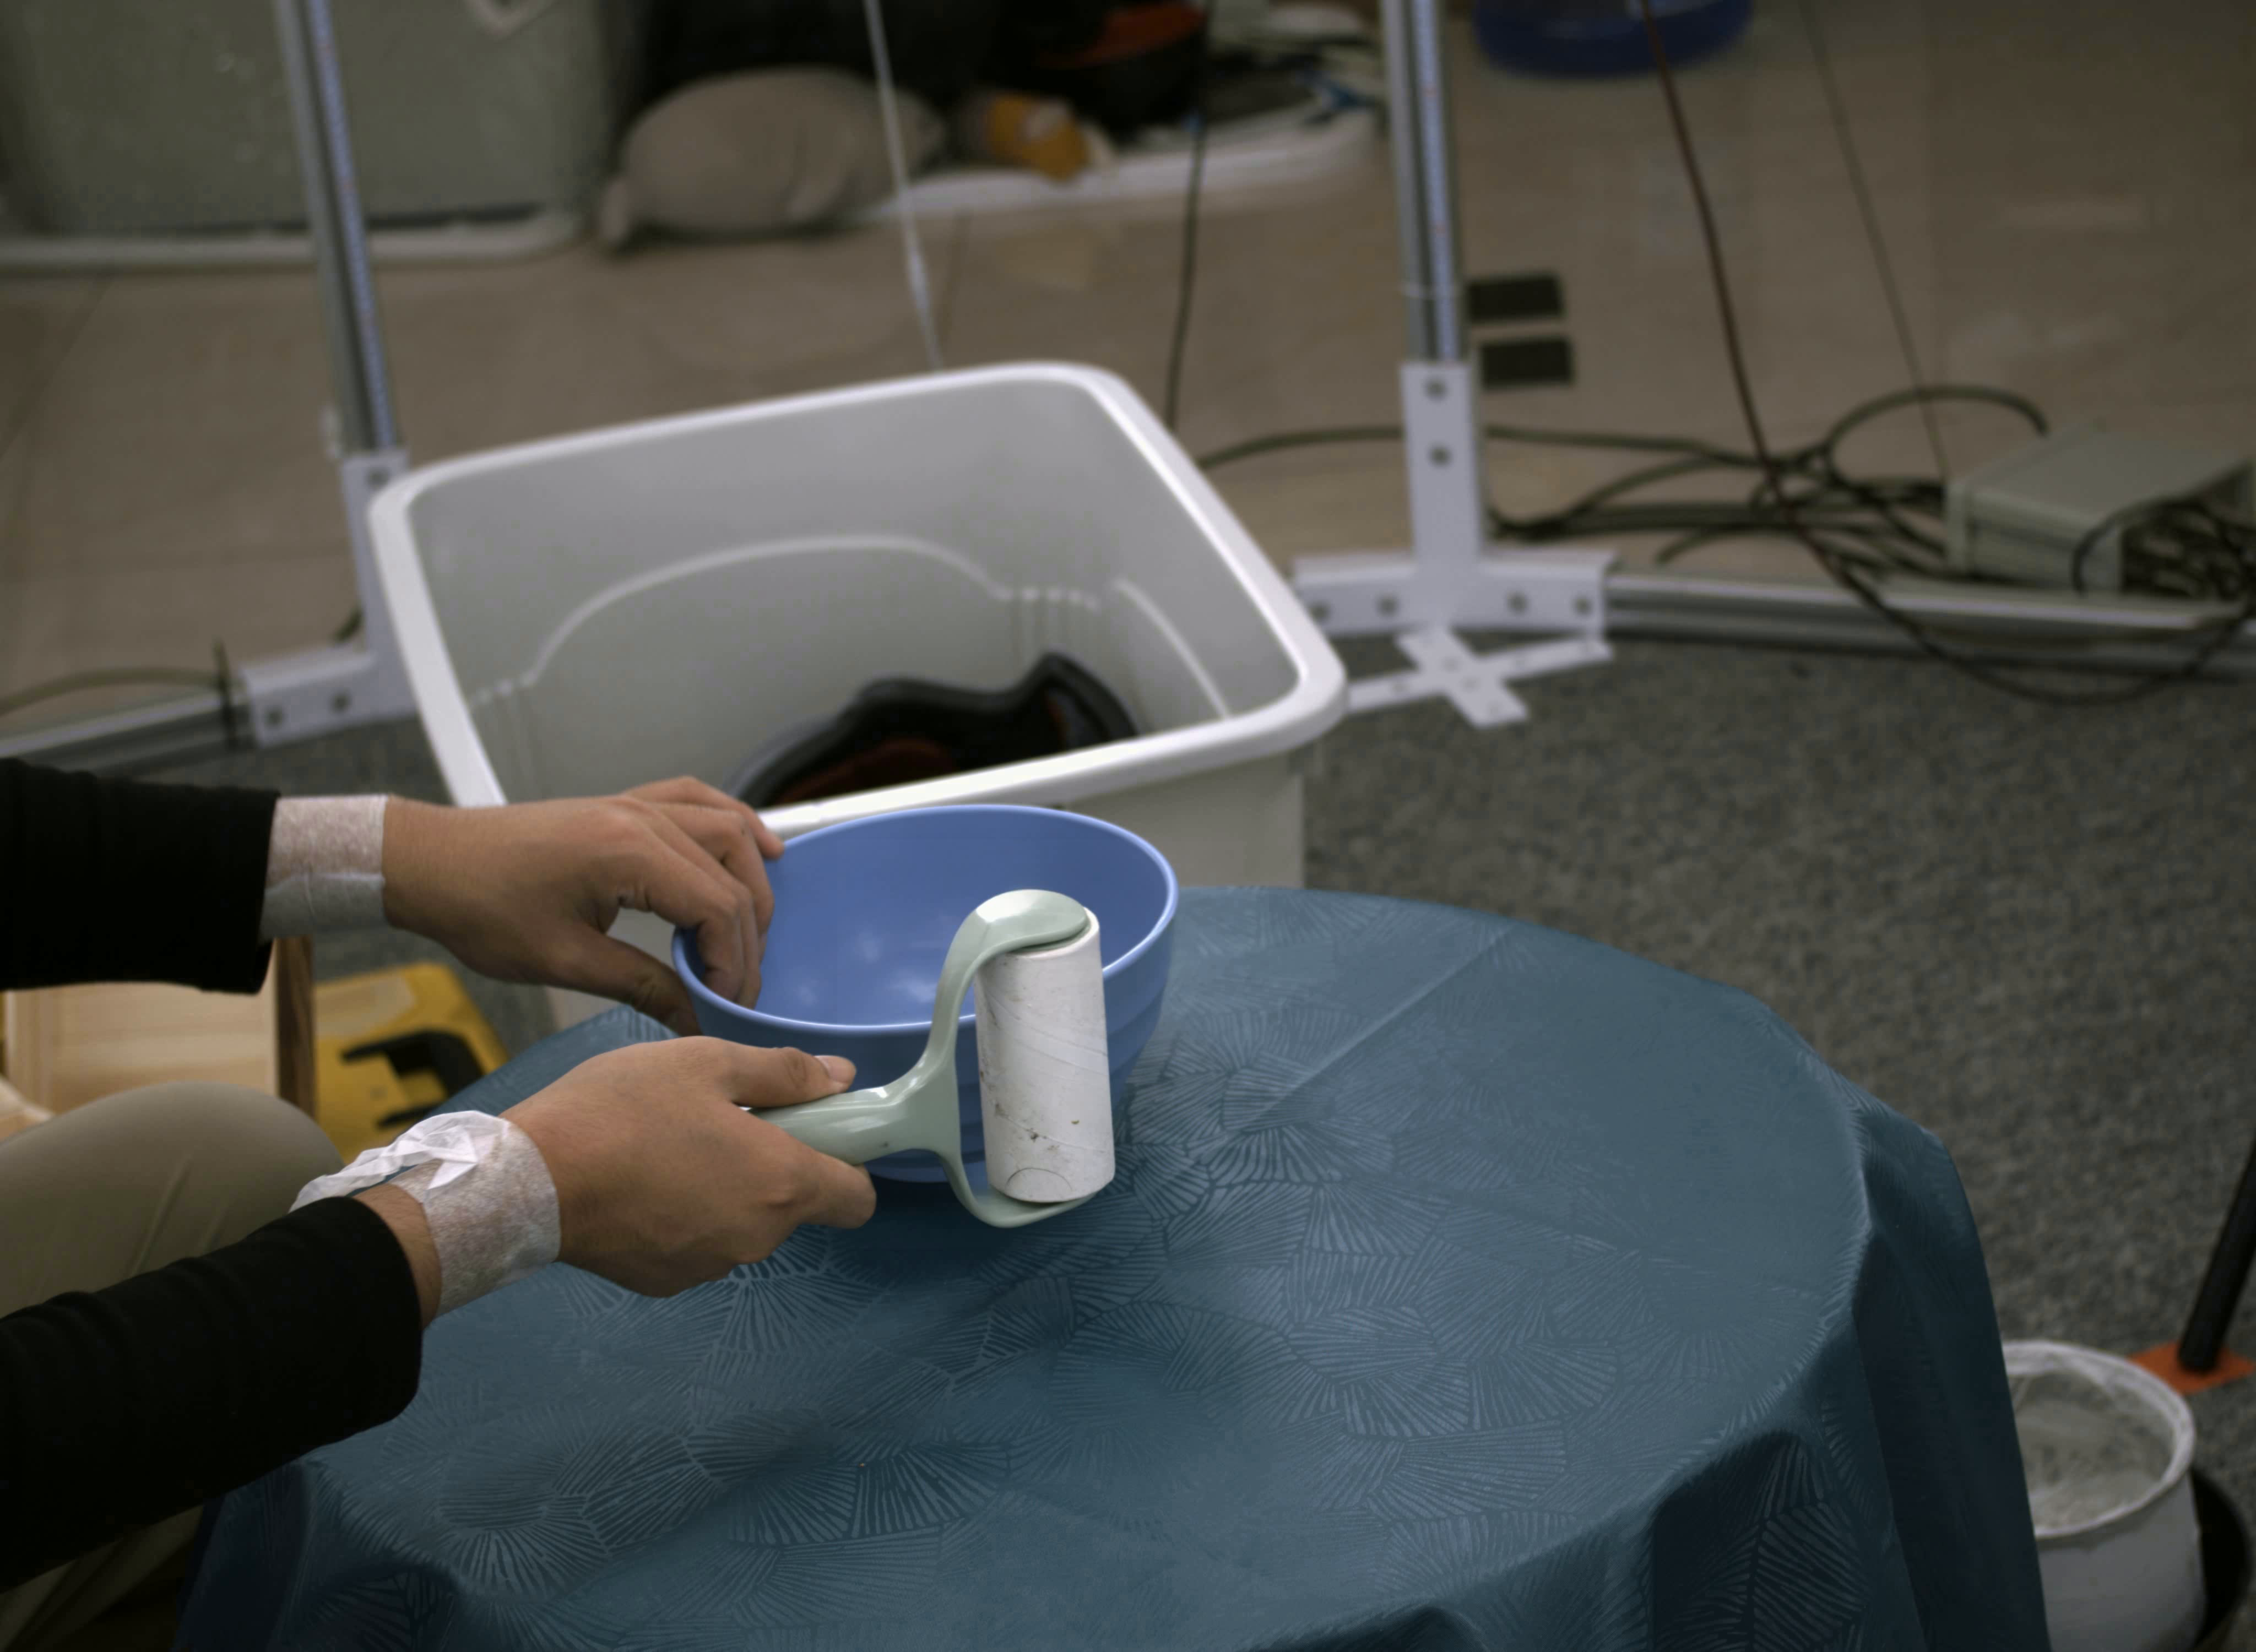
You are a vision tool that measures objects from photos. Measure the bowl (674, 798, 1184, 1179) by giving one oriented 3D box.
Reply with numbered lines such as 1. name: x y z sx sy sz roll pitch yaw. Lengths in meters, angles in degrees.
1. bowl: -0.073 0.073 2.189 0.196 0.097 0.193 -4 26 2

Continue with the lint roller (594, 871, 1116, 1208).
1. lint roller: -0.094 0.092 2.005 0.196 0.118 0.048 -17 30 -27
